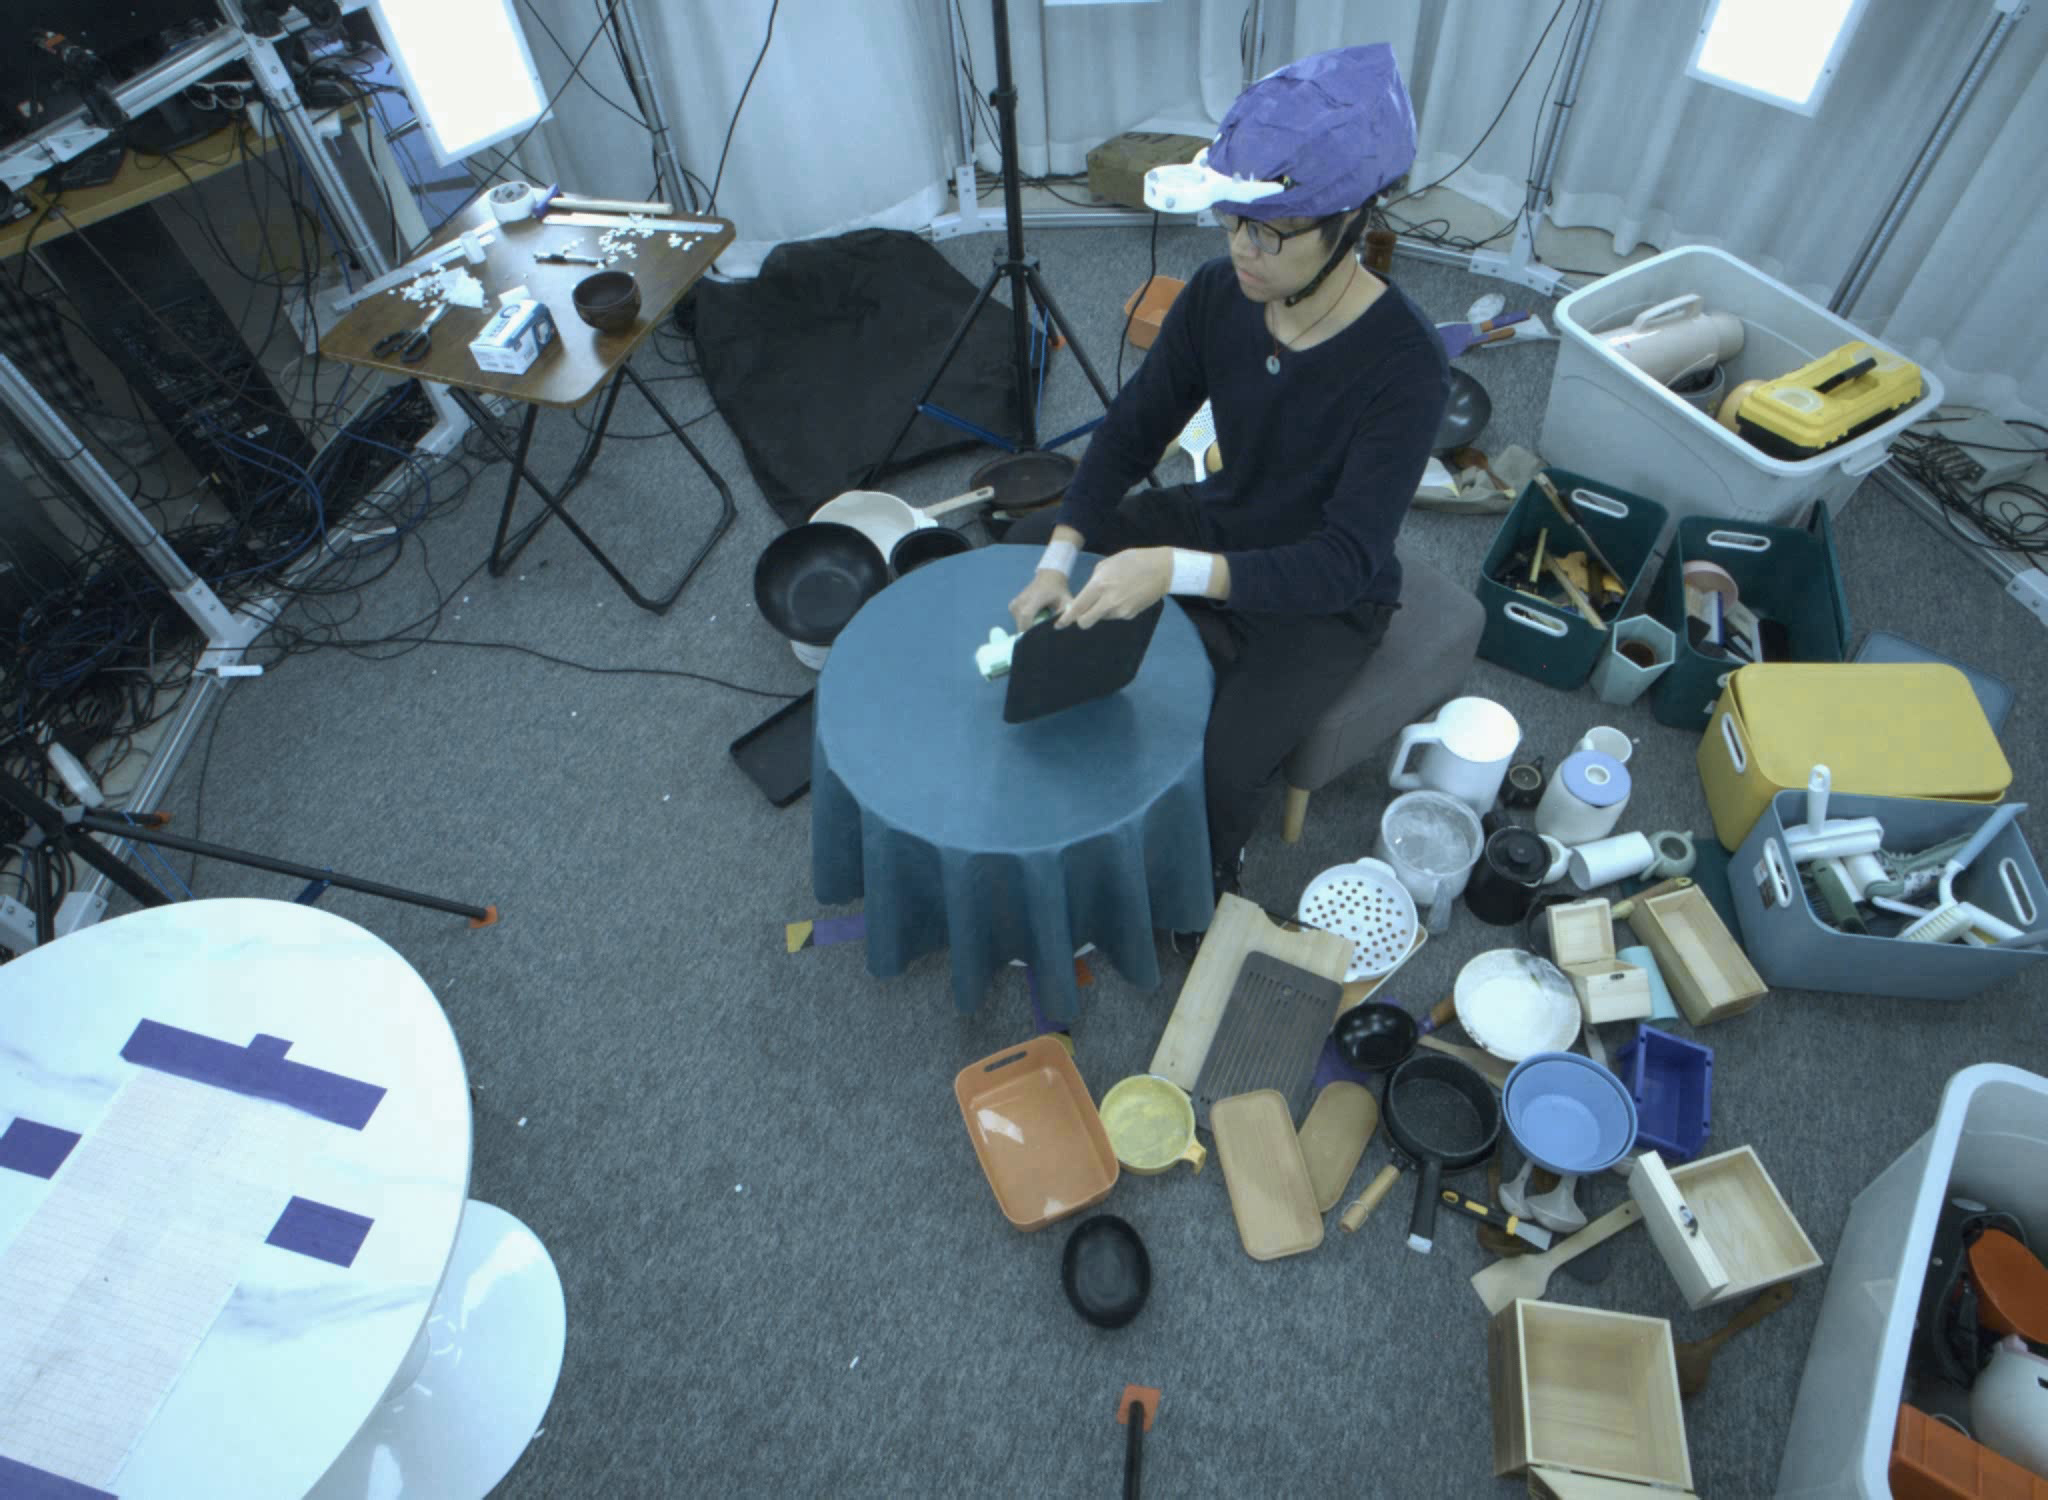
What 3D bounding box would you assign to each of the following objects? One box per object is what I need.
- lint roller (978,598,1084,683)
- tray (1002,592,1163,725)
[{"bbox_3d":[0.021,-0.191,1.813,0.198,0.083,0.180,-18,43,4],"label":"lint roller"},{"bbox_3d":[0.075,-0.121,1.673,0.213,0.326,0.009,-19,71,-13],"label":"tray"}]
